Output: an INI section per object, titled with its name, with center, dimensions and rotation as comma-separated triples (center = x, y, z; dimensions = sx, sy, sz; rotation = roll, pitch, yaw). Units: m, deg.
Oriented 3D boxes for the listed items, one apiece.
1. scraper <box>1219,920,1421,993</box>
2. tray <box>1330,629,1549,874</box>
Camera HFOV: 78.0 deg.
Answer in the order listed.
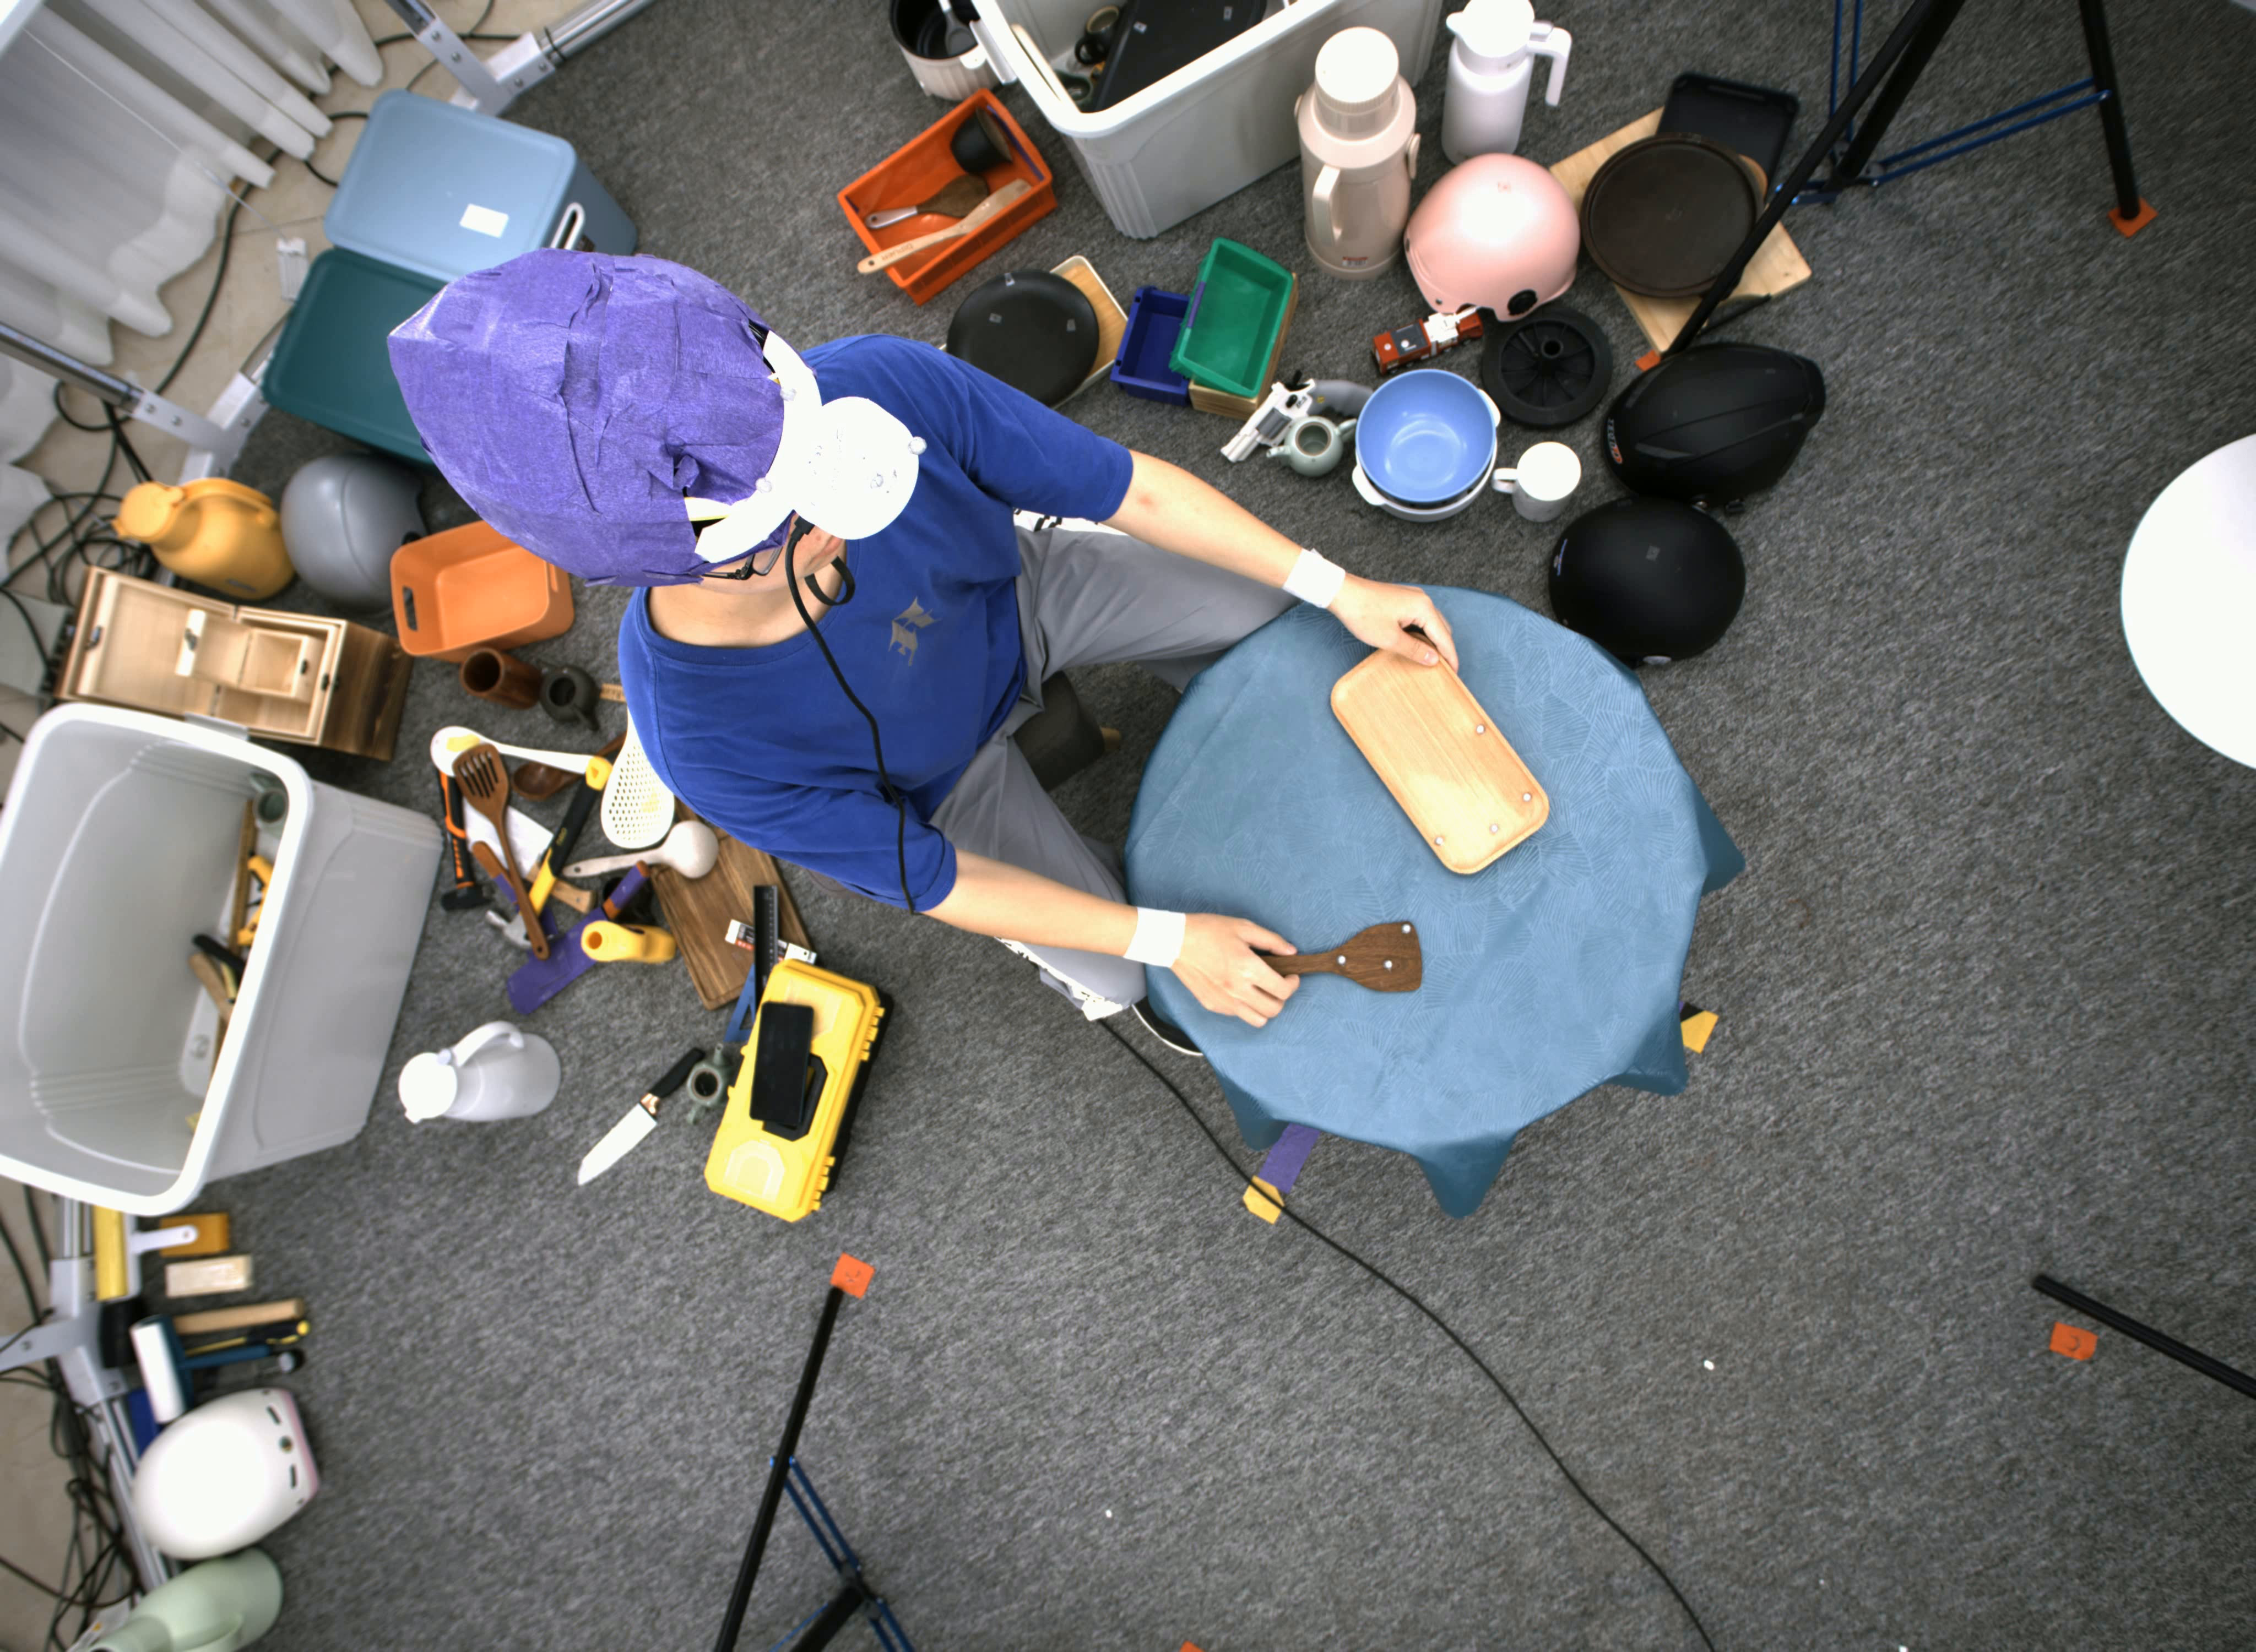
[scraper]
center = 0.201, 0.142, 1.455
dimensions = 0.212, 0.011, 0.075
rotation = -5, 84, 4
[tray]
center = 0.323, -0.080, 1.433
dimensions = 0.132, 0.023, 0.249
rotation = -36, 81, 19
